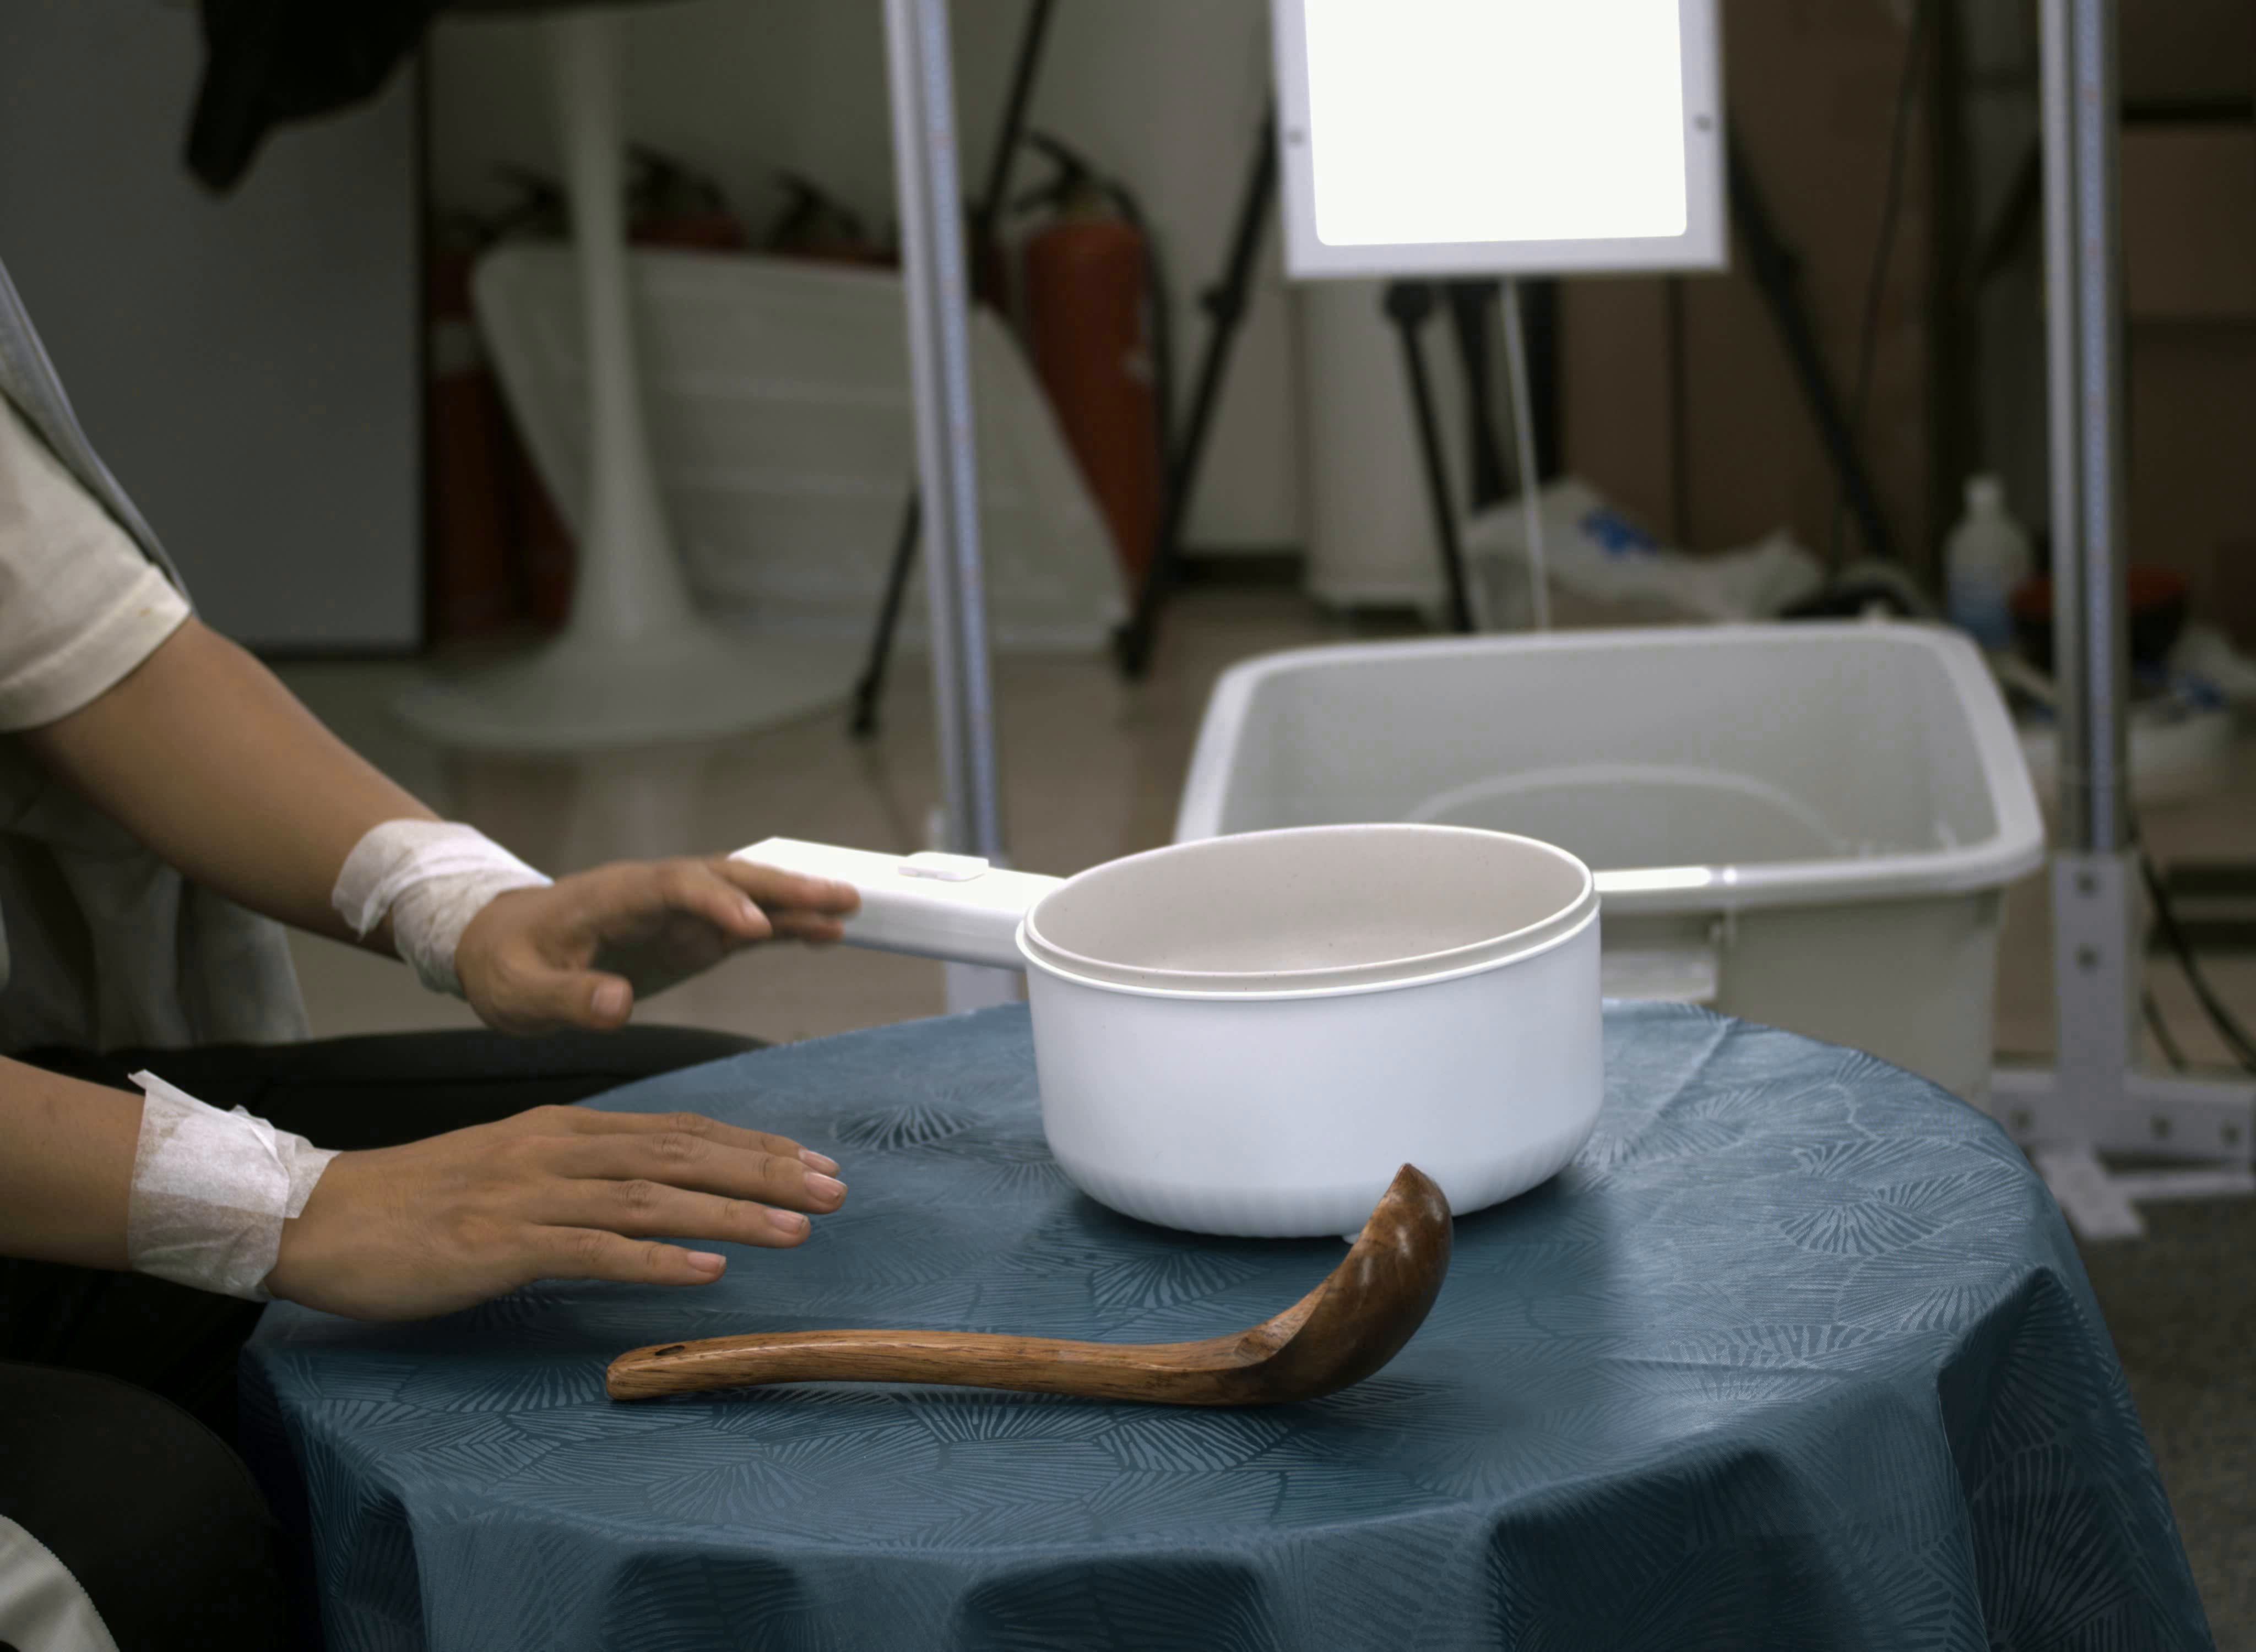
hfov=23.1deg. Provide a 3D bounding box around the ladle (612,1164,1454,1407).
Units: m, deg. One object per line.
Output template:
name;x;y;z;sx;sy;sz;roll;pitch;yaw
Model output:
ladle;-0.033;0.138;1.693;0.277;0.077;0.080;1;6;20

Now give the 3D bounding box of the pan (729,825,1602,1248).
pan;0.004;0.067;1.932;0.362;0.102;0.196;5;18;39
